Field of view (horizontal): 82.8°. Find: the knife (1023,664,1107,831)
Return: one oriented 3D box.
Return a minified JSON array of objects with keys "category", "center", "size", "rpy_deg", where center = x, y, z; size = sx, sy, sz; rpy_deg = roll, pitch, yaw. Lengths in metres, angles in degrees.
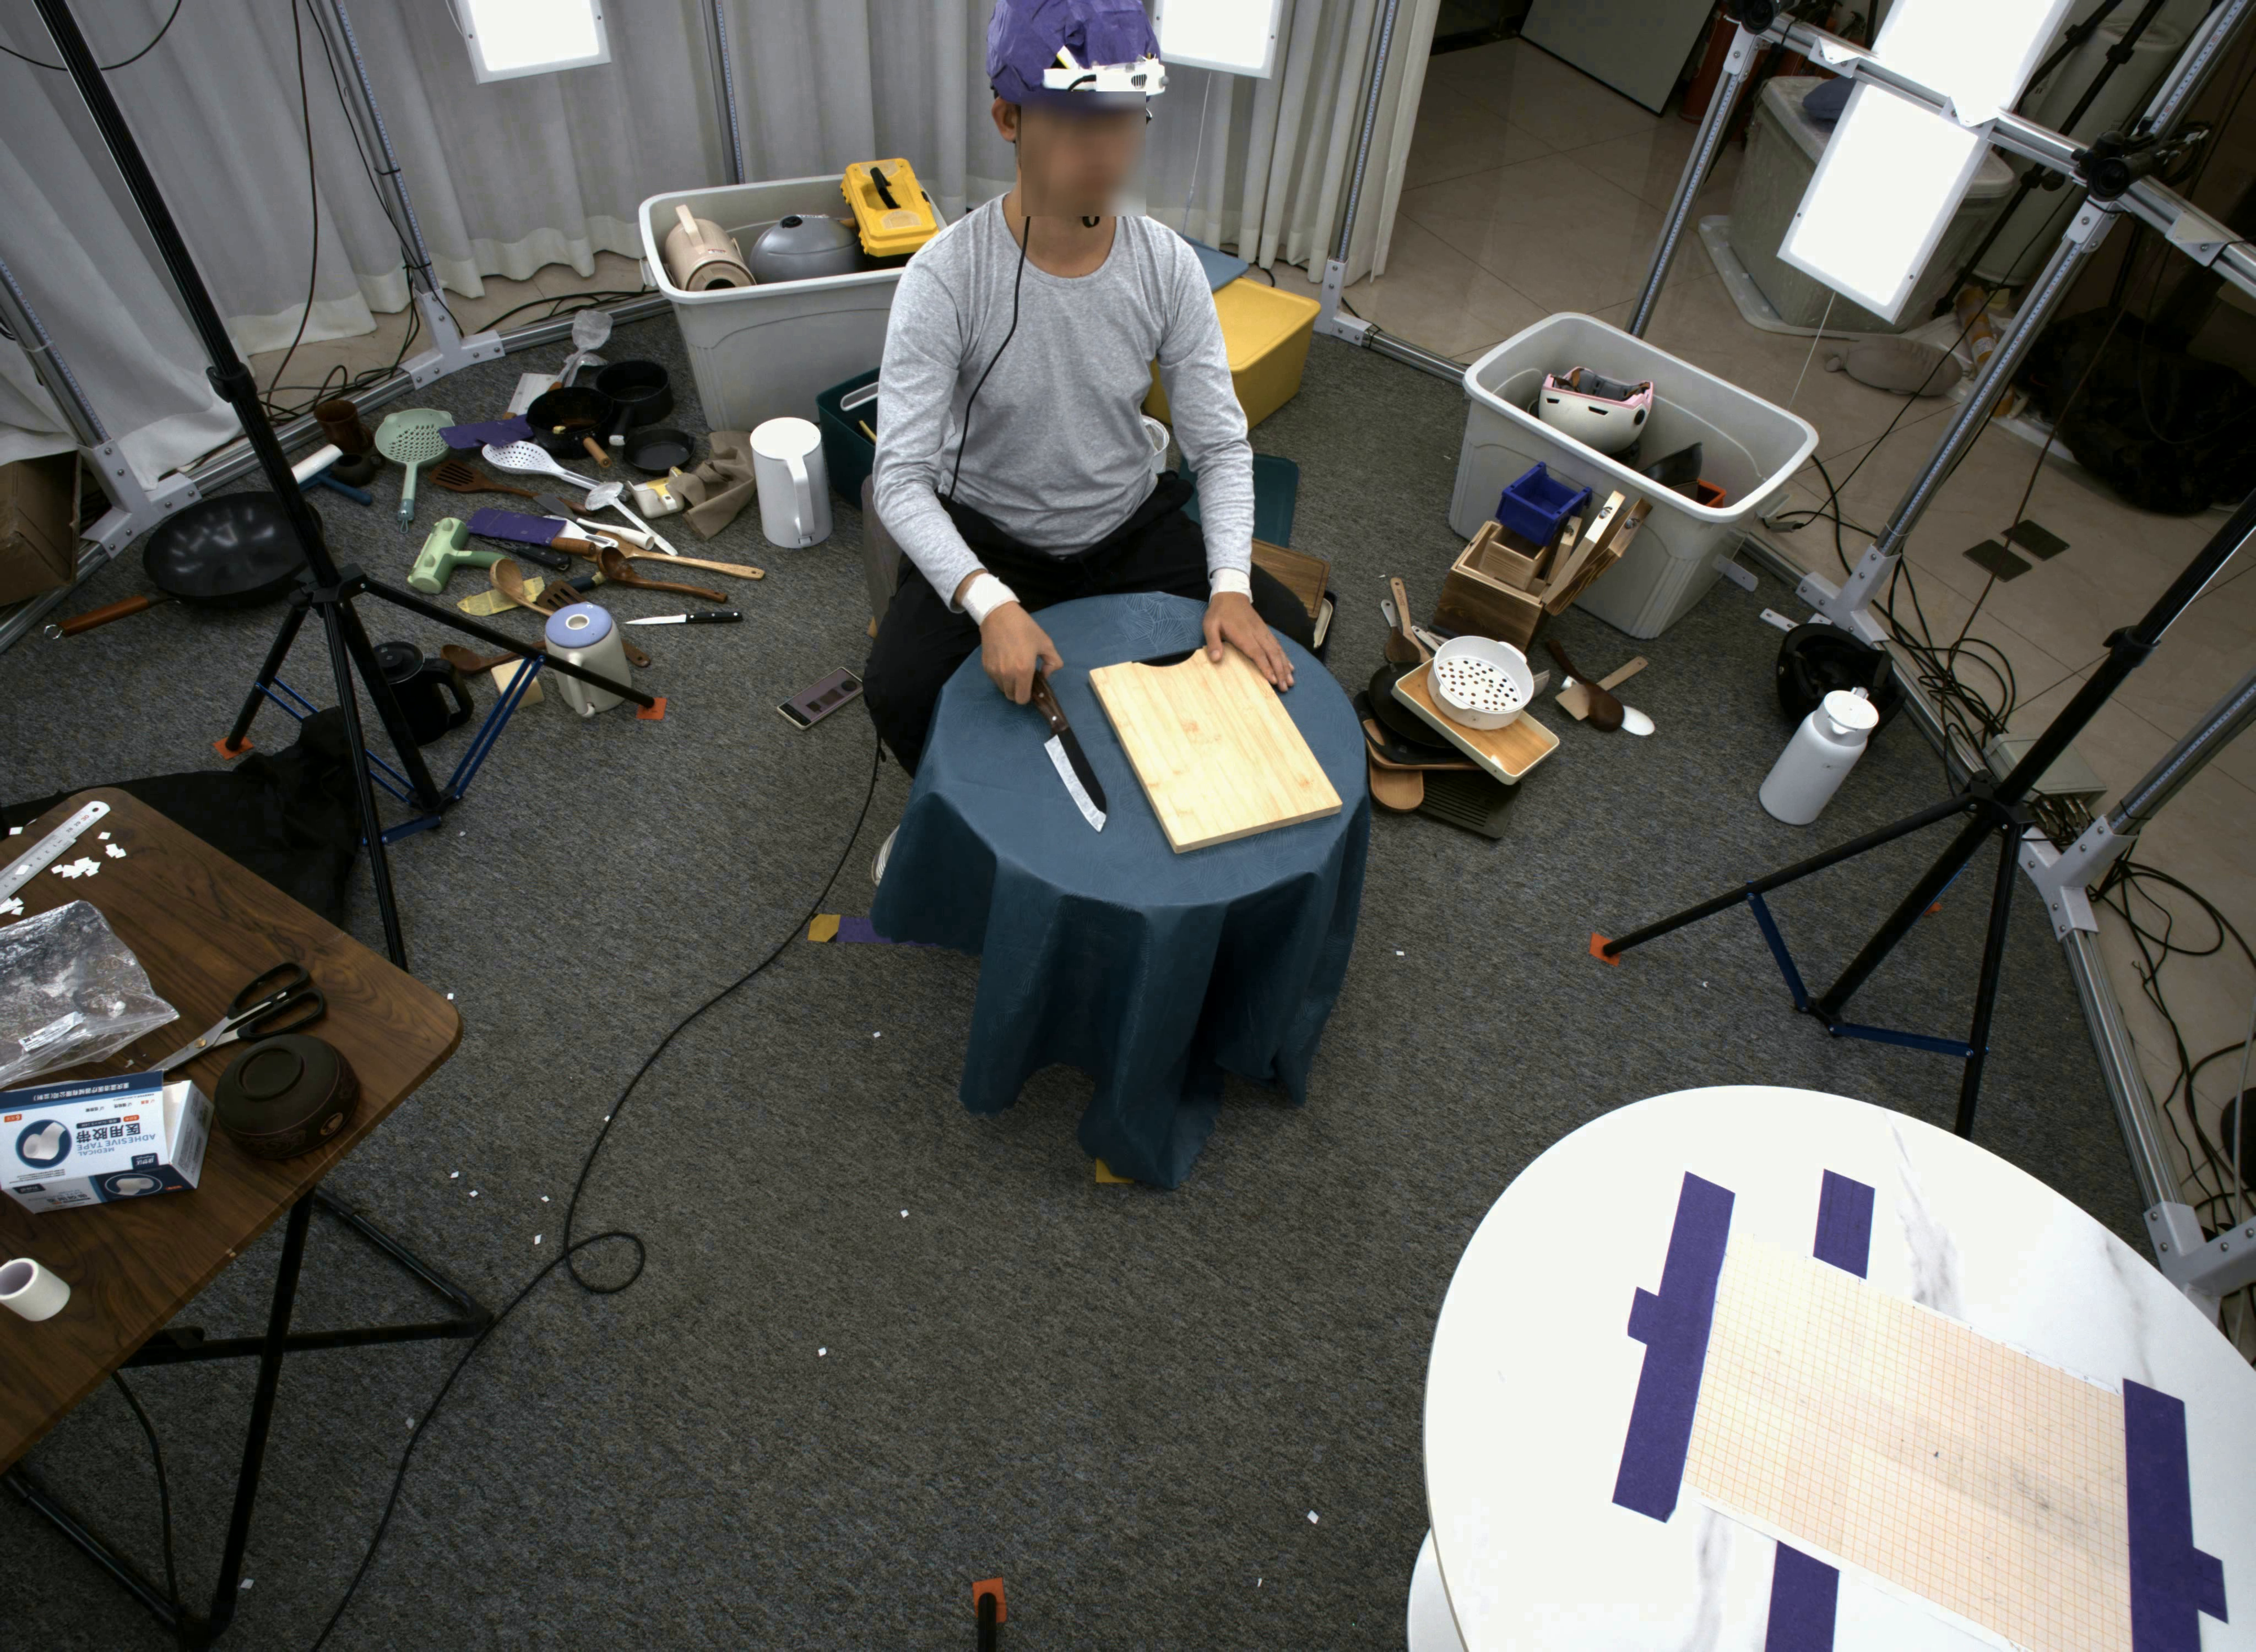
[{"category":"knife","center":[-0.086,-0.109,1.732],"size":[0.050,0.019,0.295],"rpy_deg":[-34,57,15]}]

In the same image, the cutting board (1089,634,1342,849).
[{"category":"cutting board","center":[0.113,-0.124,1.773],"size":[0.251,0.023,0.357],"rpy_deg":[-14,51,-16]}]
